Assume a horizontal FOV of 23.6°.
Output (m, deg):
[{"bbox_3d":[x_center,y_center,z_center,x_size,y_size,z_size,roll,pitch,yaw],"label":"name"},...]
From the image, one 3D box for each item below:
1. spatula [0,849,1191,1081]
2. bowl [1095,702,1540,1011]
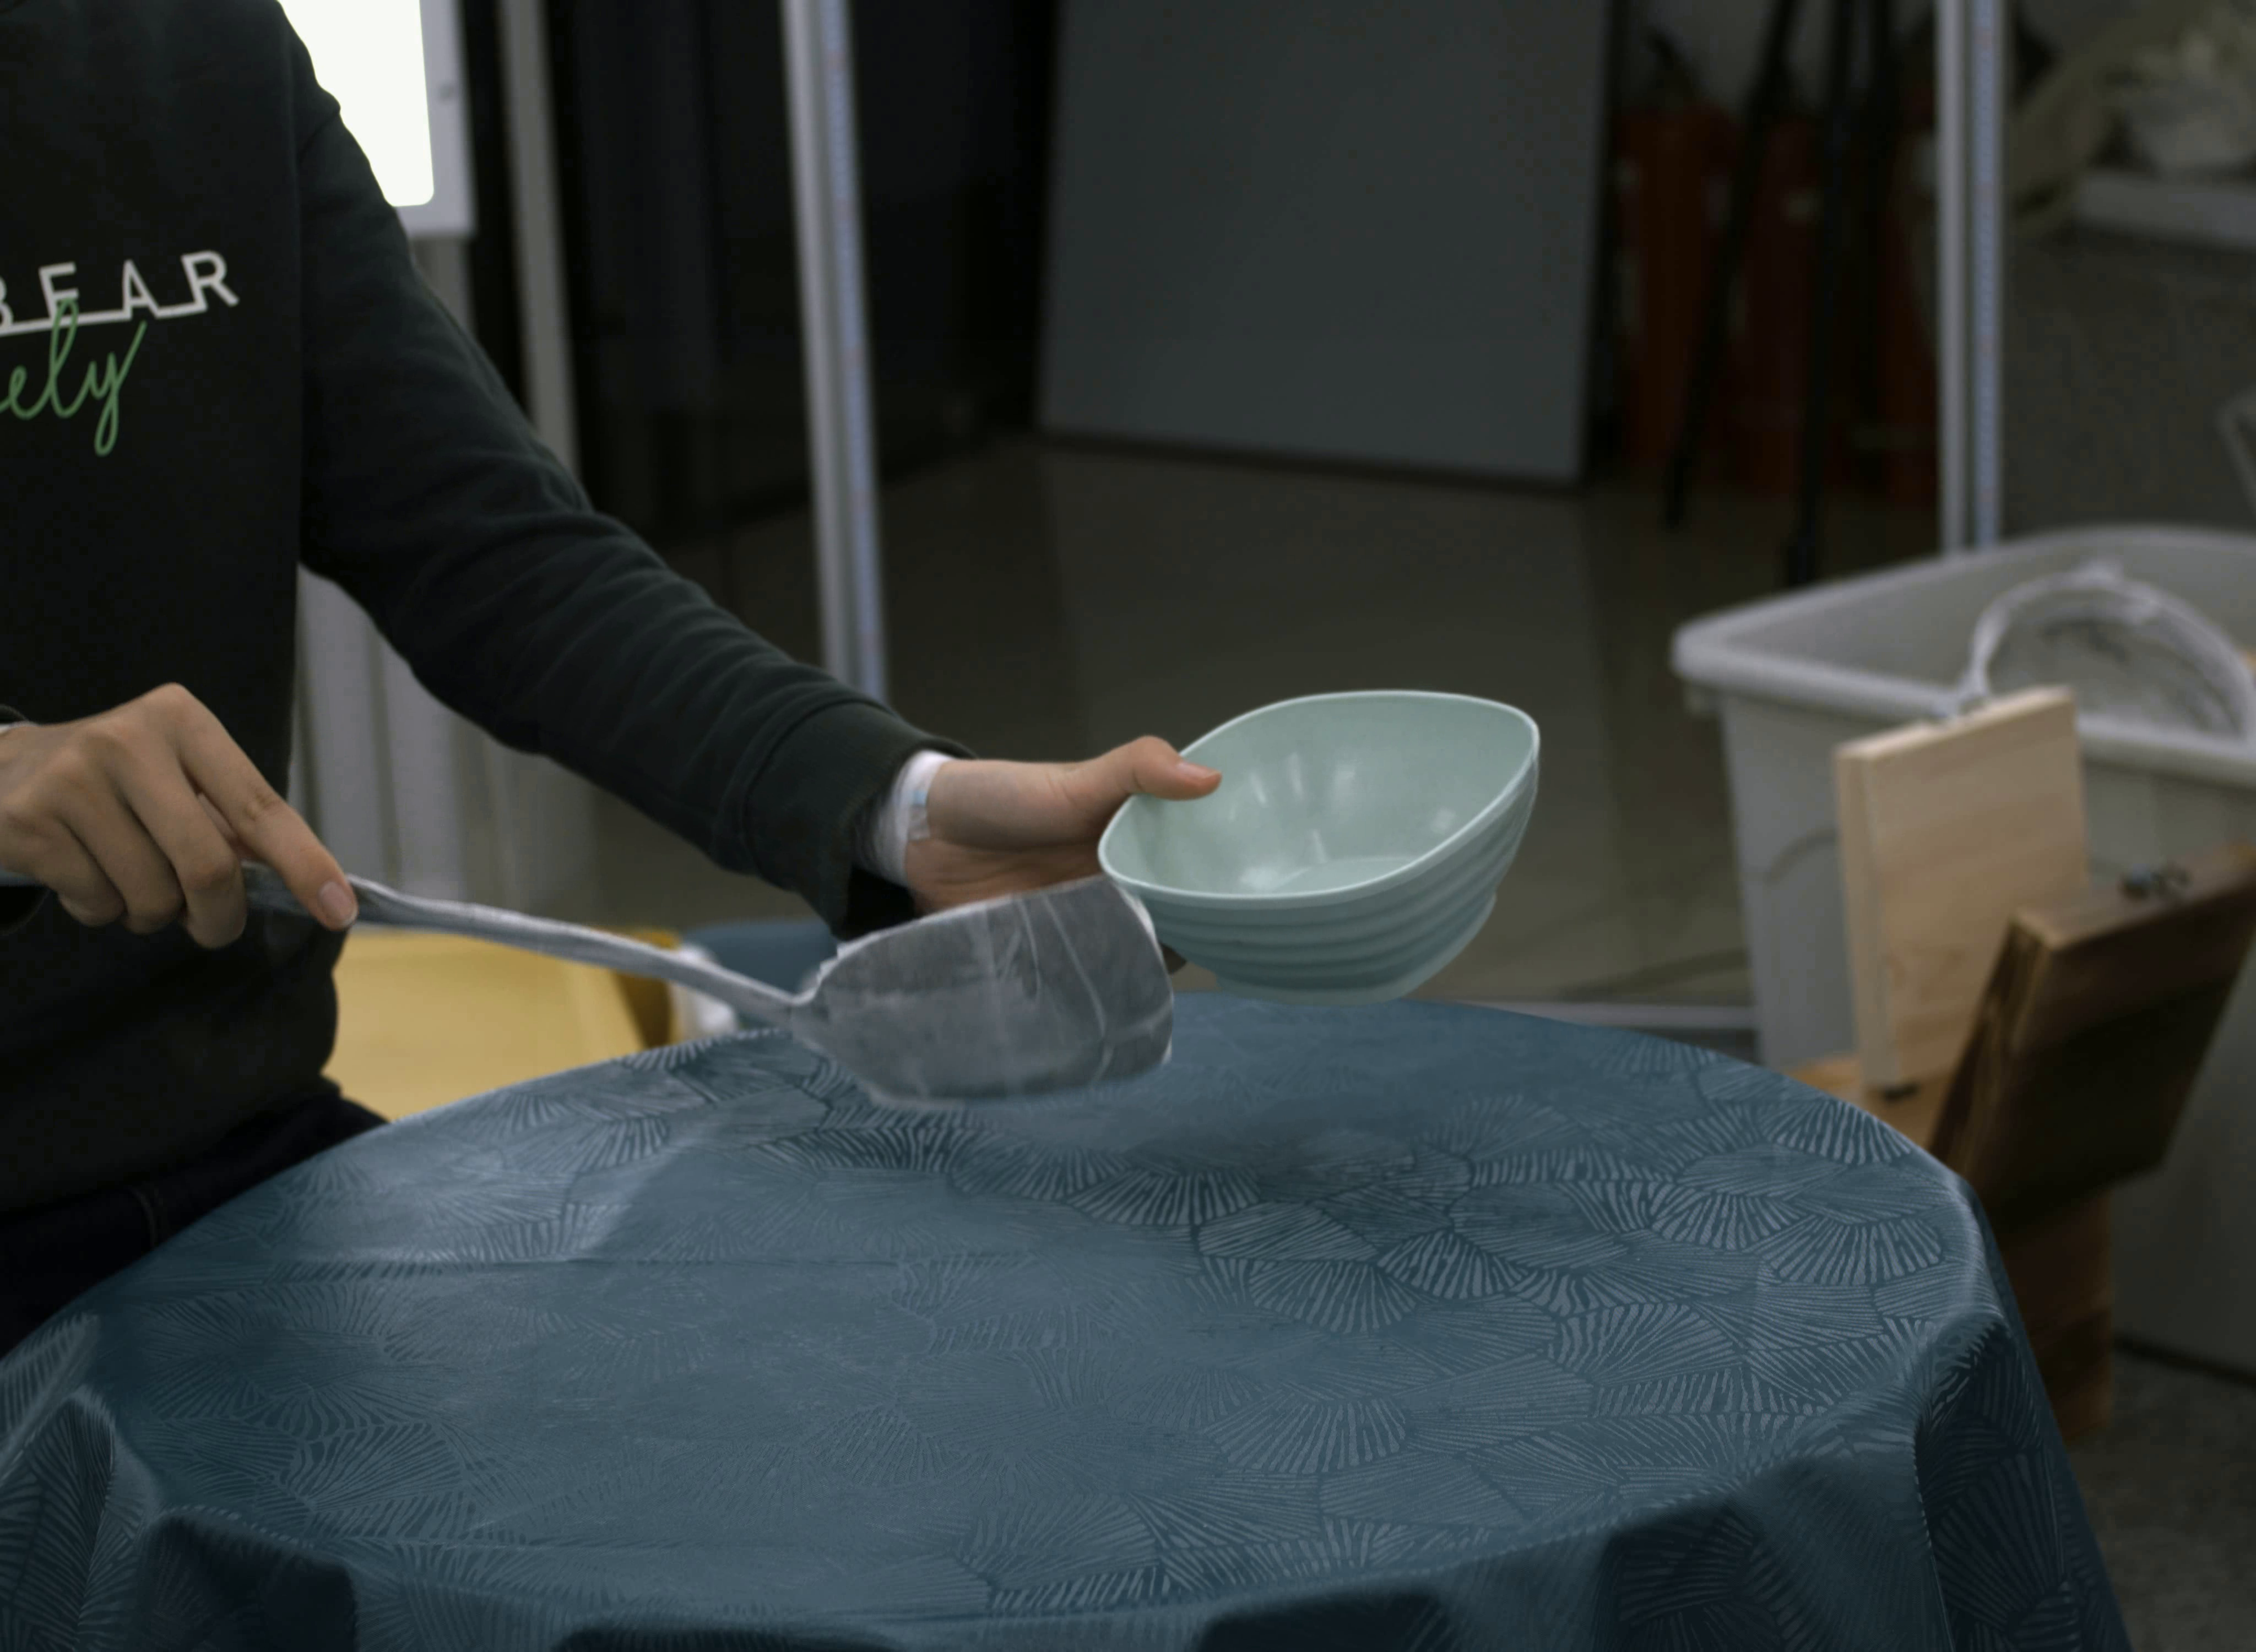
[{"bbox_3d":[-0.161,0.026,1.550,0.364,0.098,0.045,8,58,18],"label":"spatula"},{"bbox_3d":[0.067,0.015,1.760,0.150,0.059,0.152,-13,23,4],"label":"bowl"}]
